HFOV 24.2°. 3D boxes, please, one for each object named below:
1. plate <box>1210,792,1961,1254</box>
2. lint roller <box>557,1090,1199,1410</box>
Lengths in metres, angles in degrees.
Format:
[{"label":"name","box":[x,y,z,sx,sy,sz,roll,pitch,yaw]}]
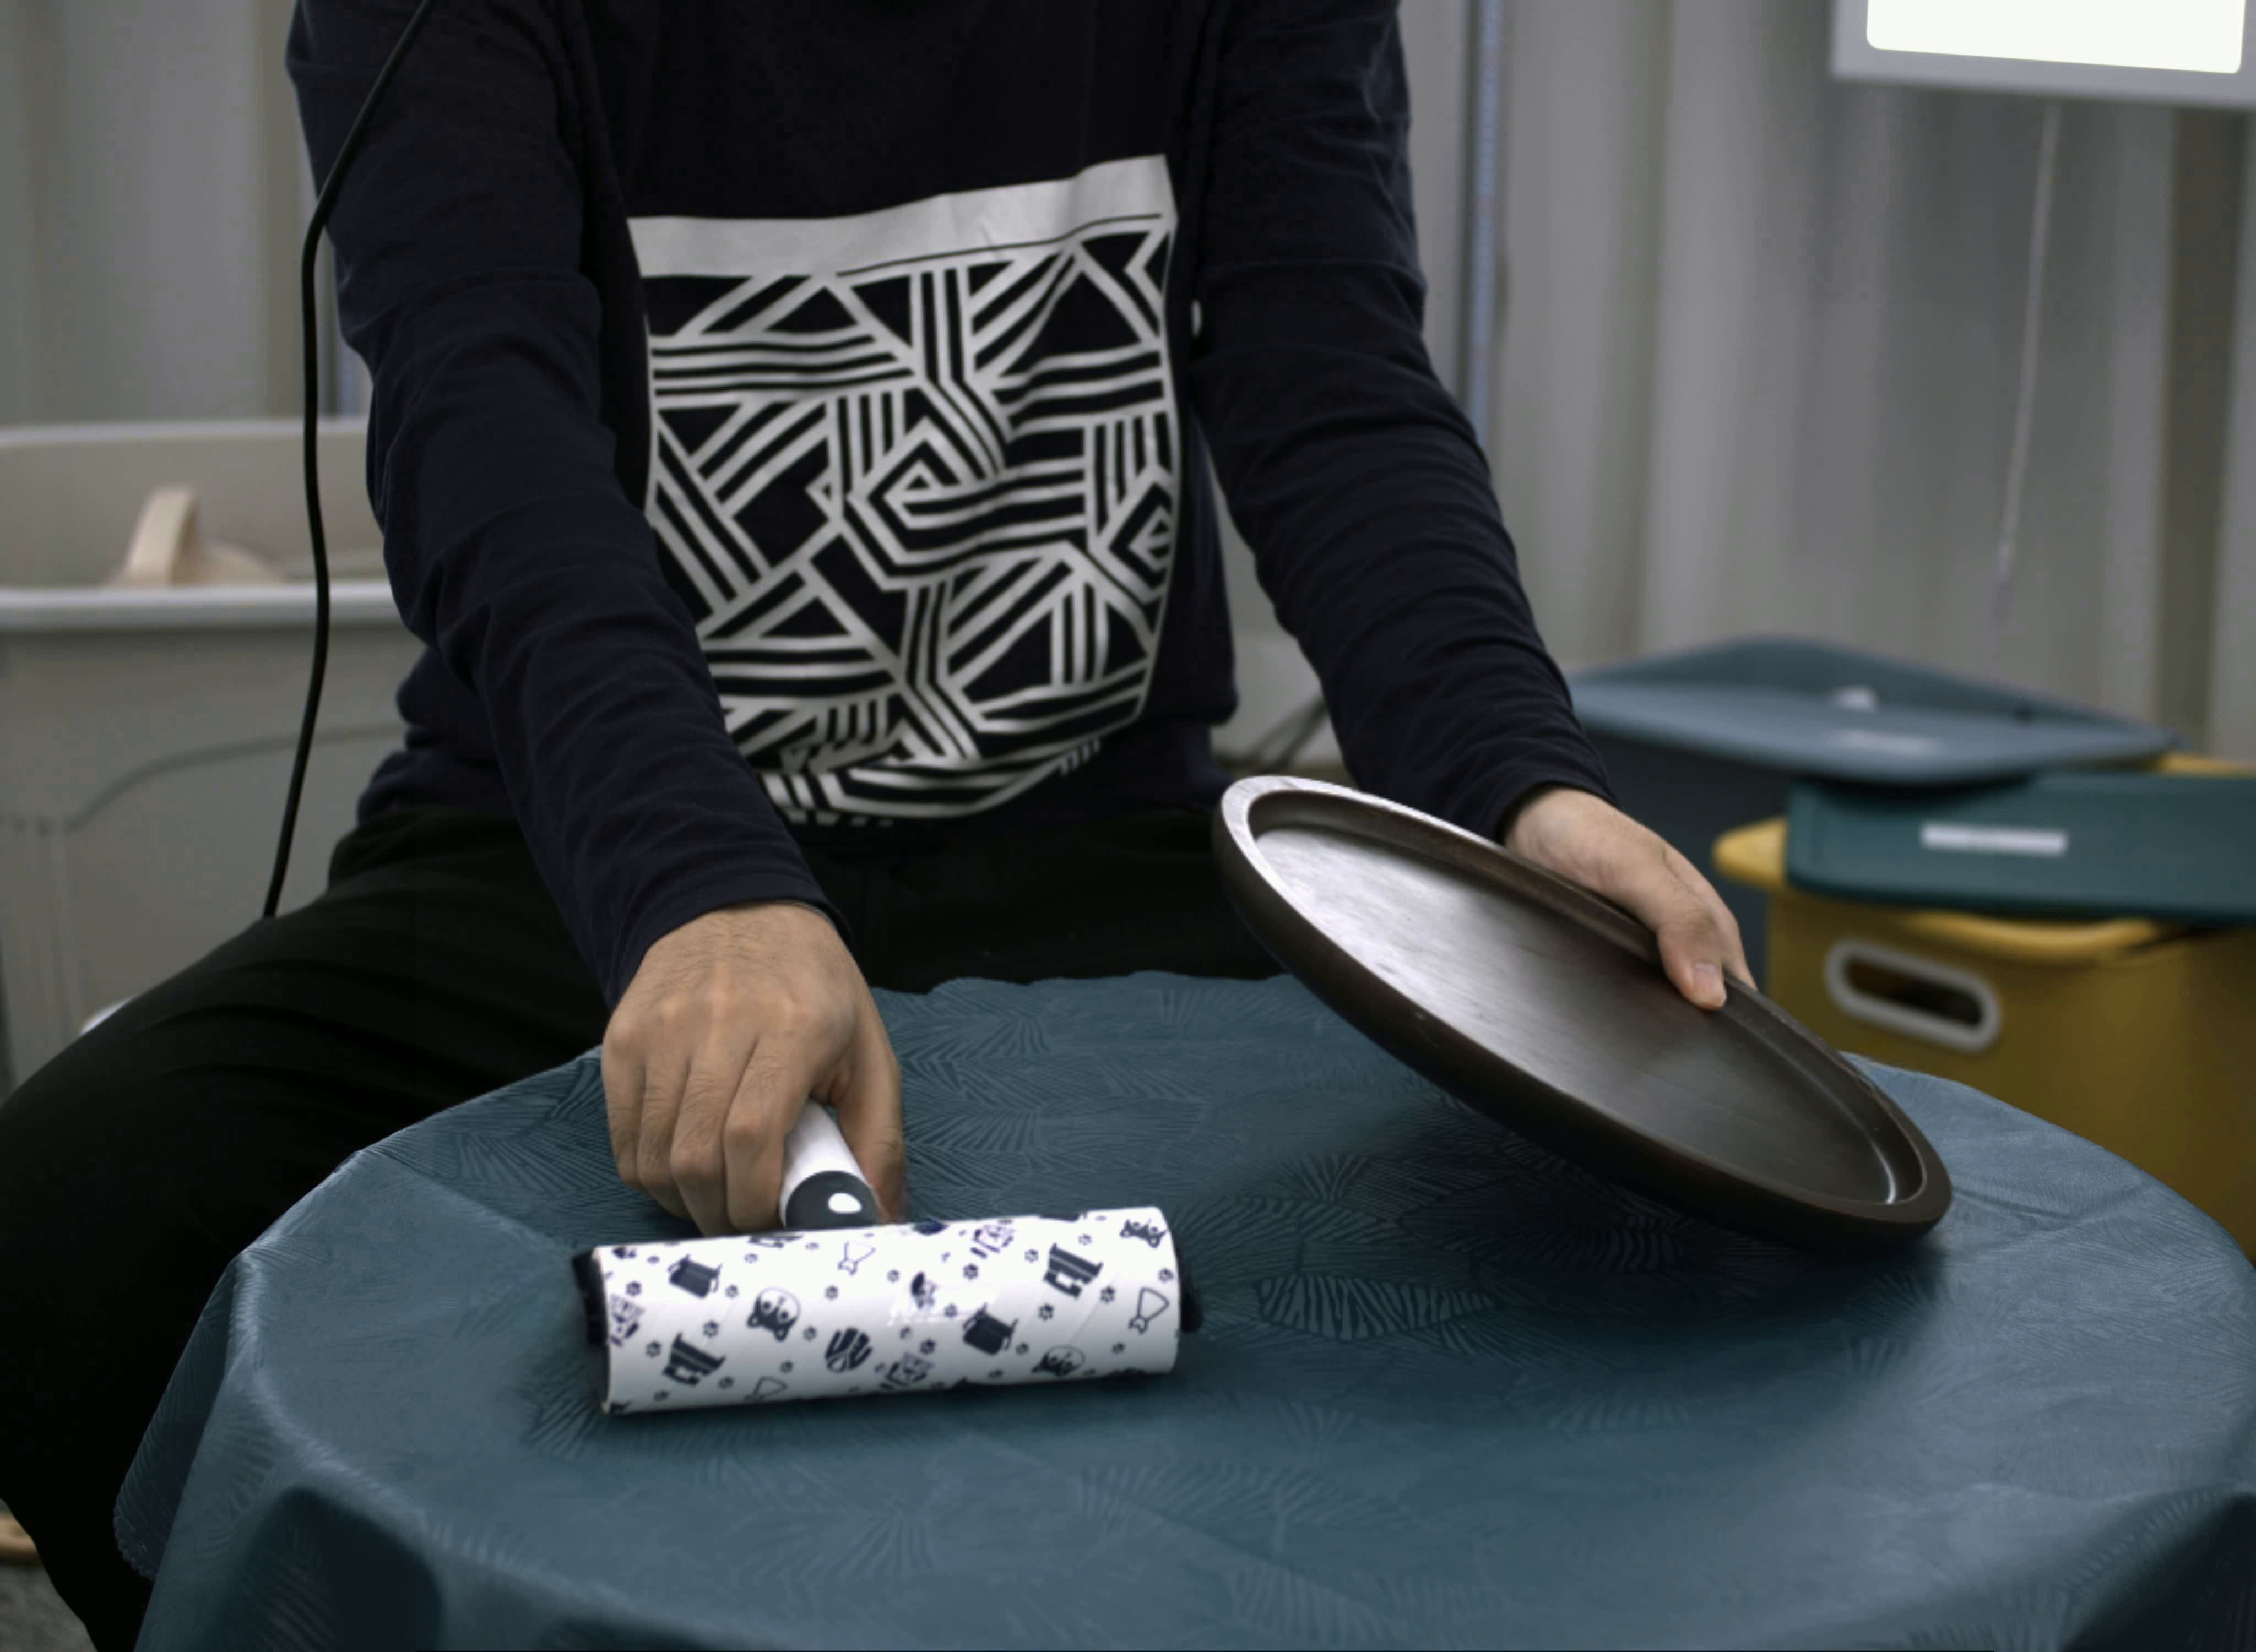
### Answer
[{"label":"plate","box":[0.136,0.059,1.596,0.255,0.029,0.253,27,12,-6]},{"label":"lint roller","box":[-0.090,0.110,1.551,0.176,0.051,0.245,-5,13,-12]}]
